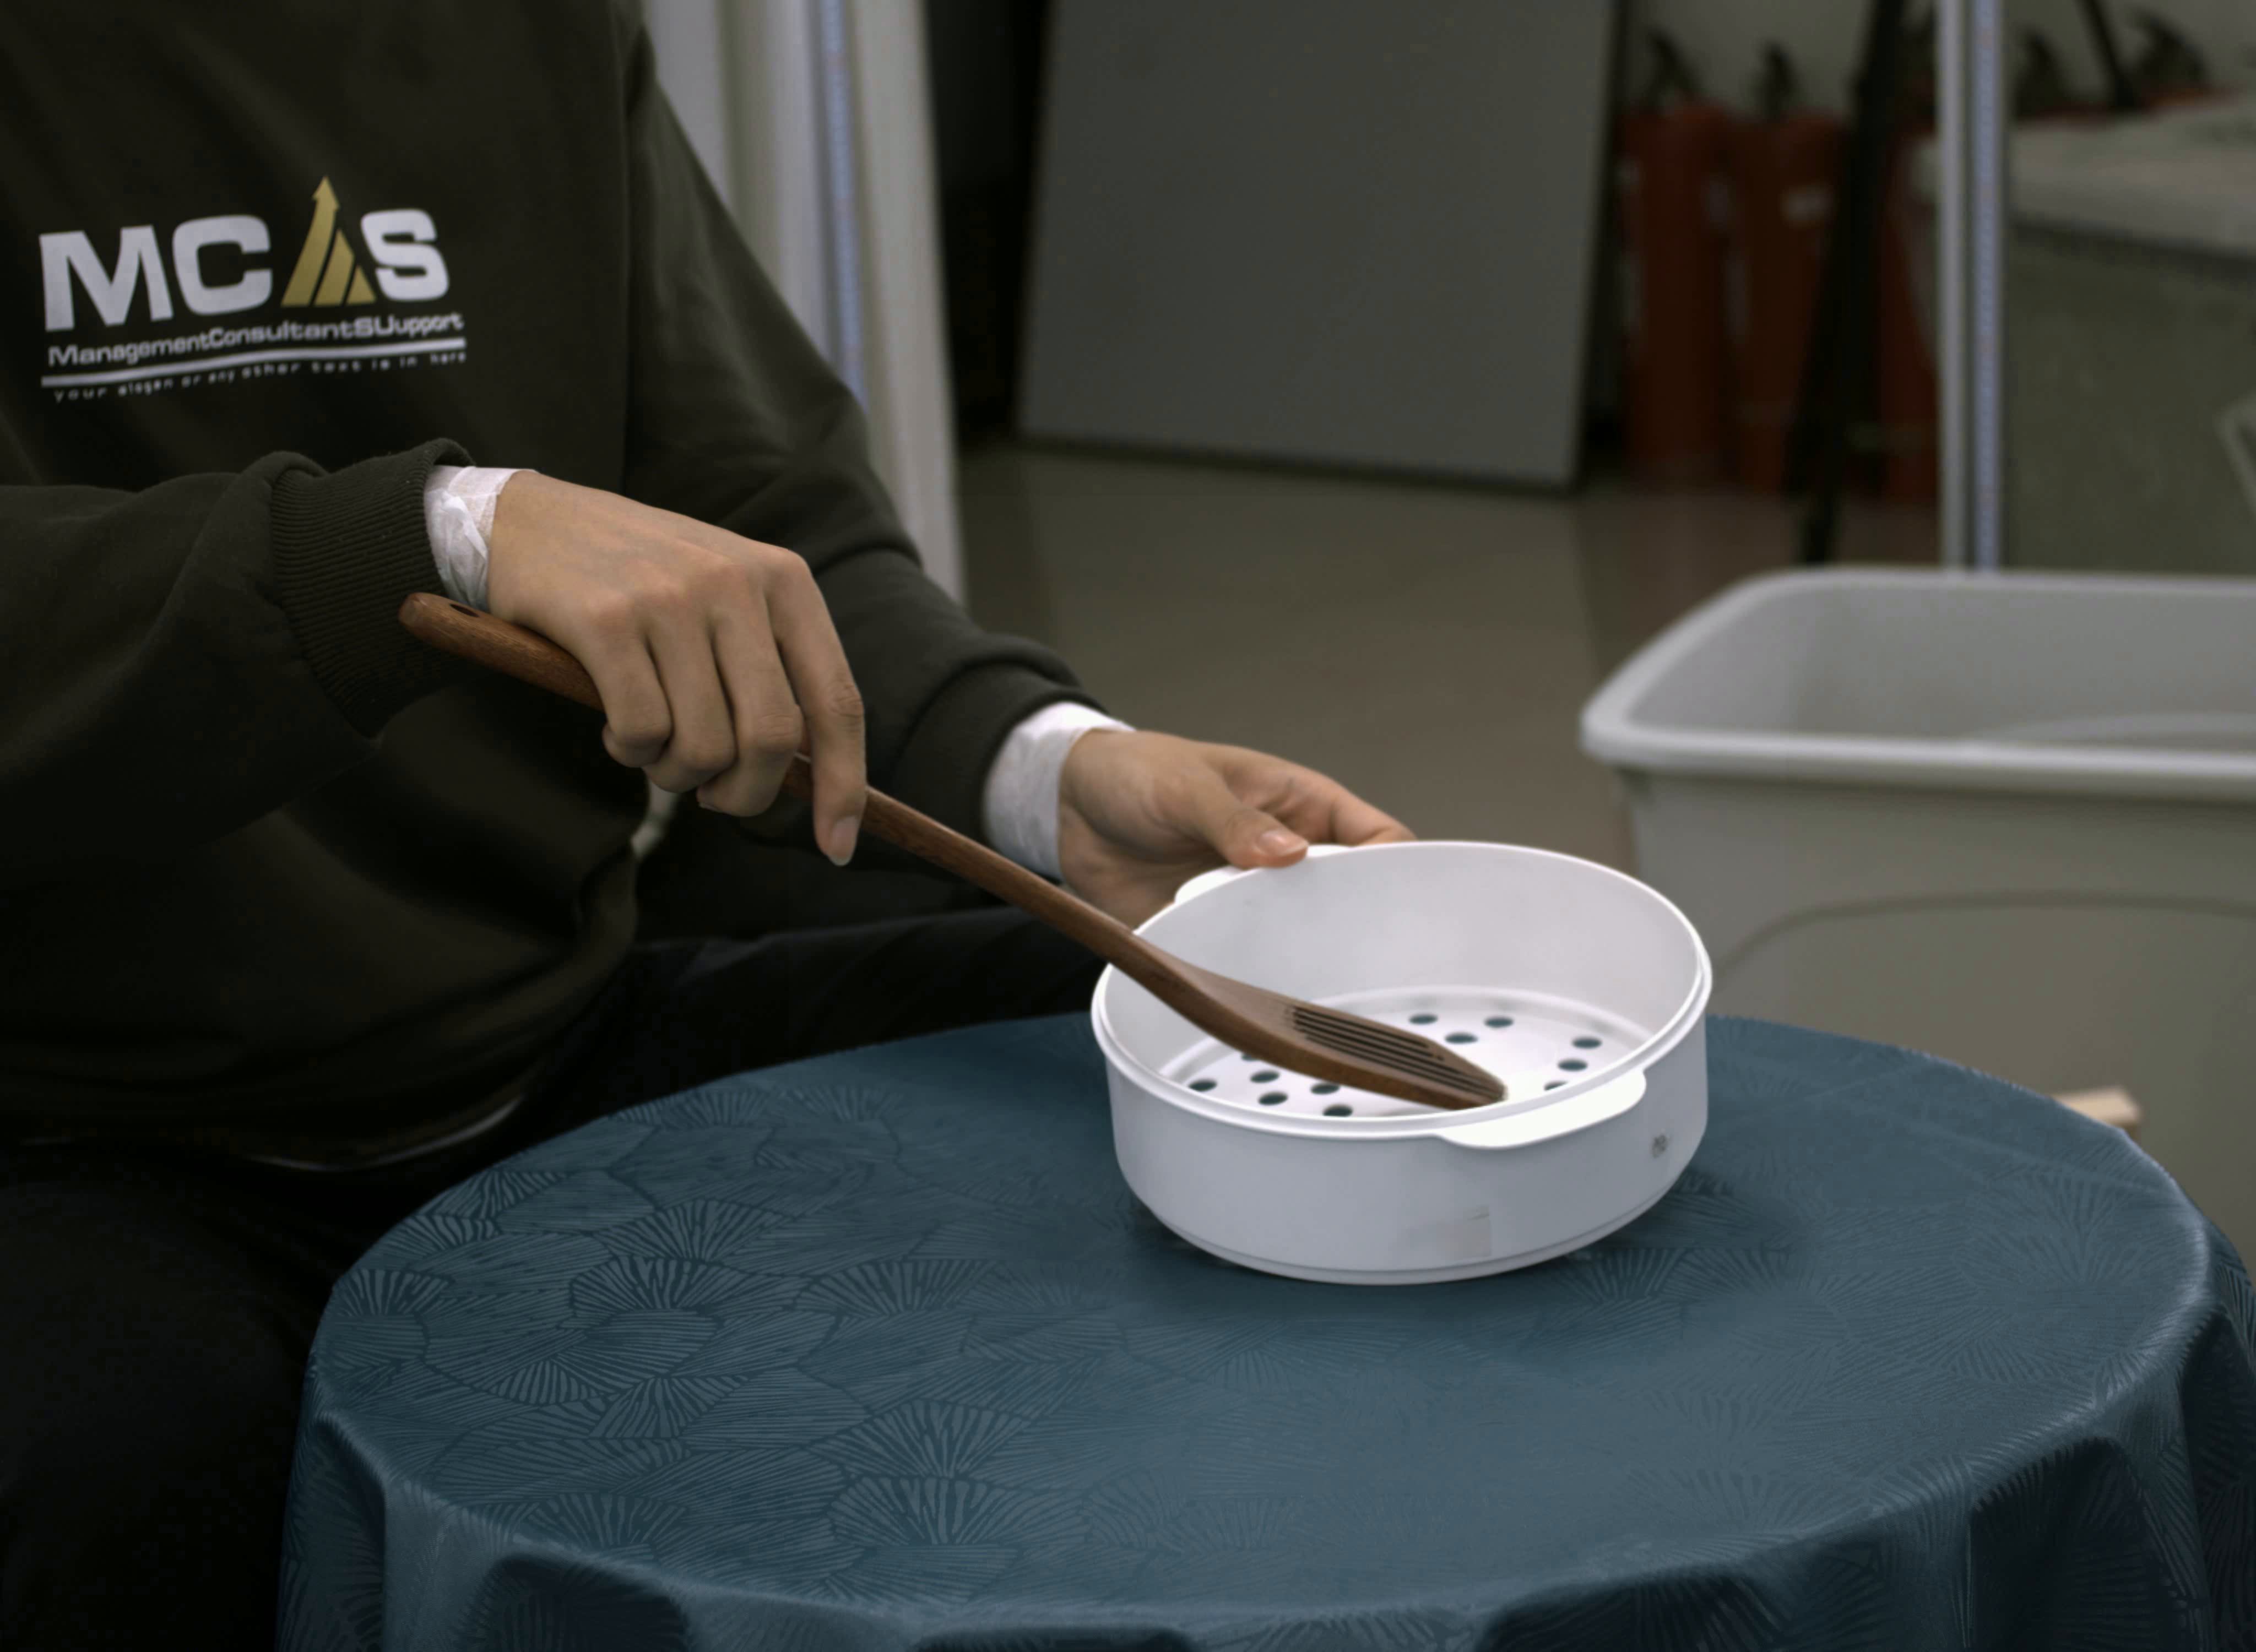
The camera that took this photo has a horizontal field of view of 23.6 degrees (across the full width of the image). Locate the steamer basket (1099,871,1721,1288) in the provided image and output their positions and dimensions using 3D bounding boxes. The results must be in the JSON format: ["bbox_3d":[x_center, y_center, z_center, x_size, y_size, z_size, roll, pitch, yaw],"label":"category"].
[{"bbox_3d":[0.092,0.081,1.730,0.198,0.070,0.233,-14,22,-19],"label":"steamer basket"}]

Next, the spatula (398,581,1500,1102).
[{"bbox_3d":[-0.051,0.011,1.666,0.379,0.024,0.086,26,7,-16],"label":"spatula"}]
